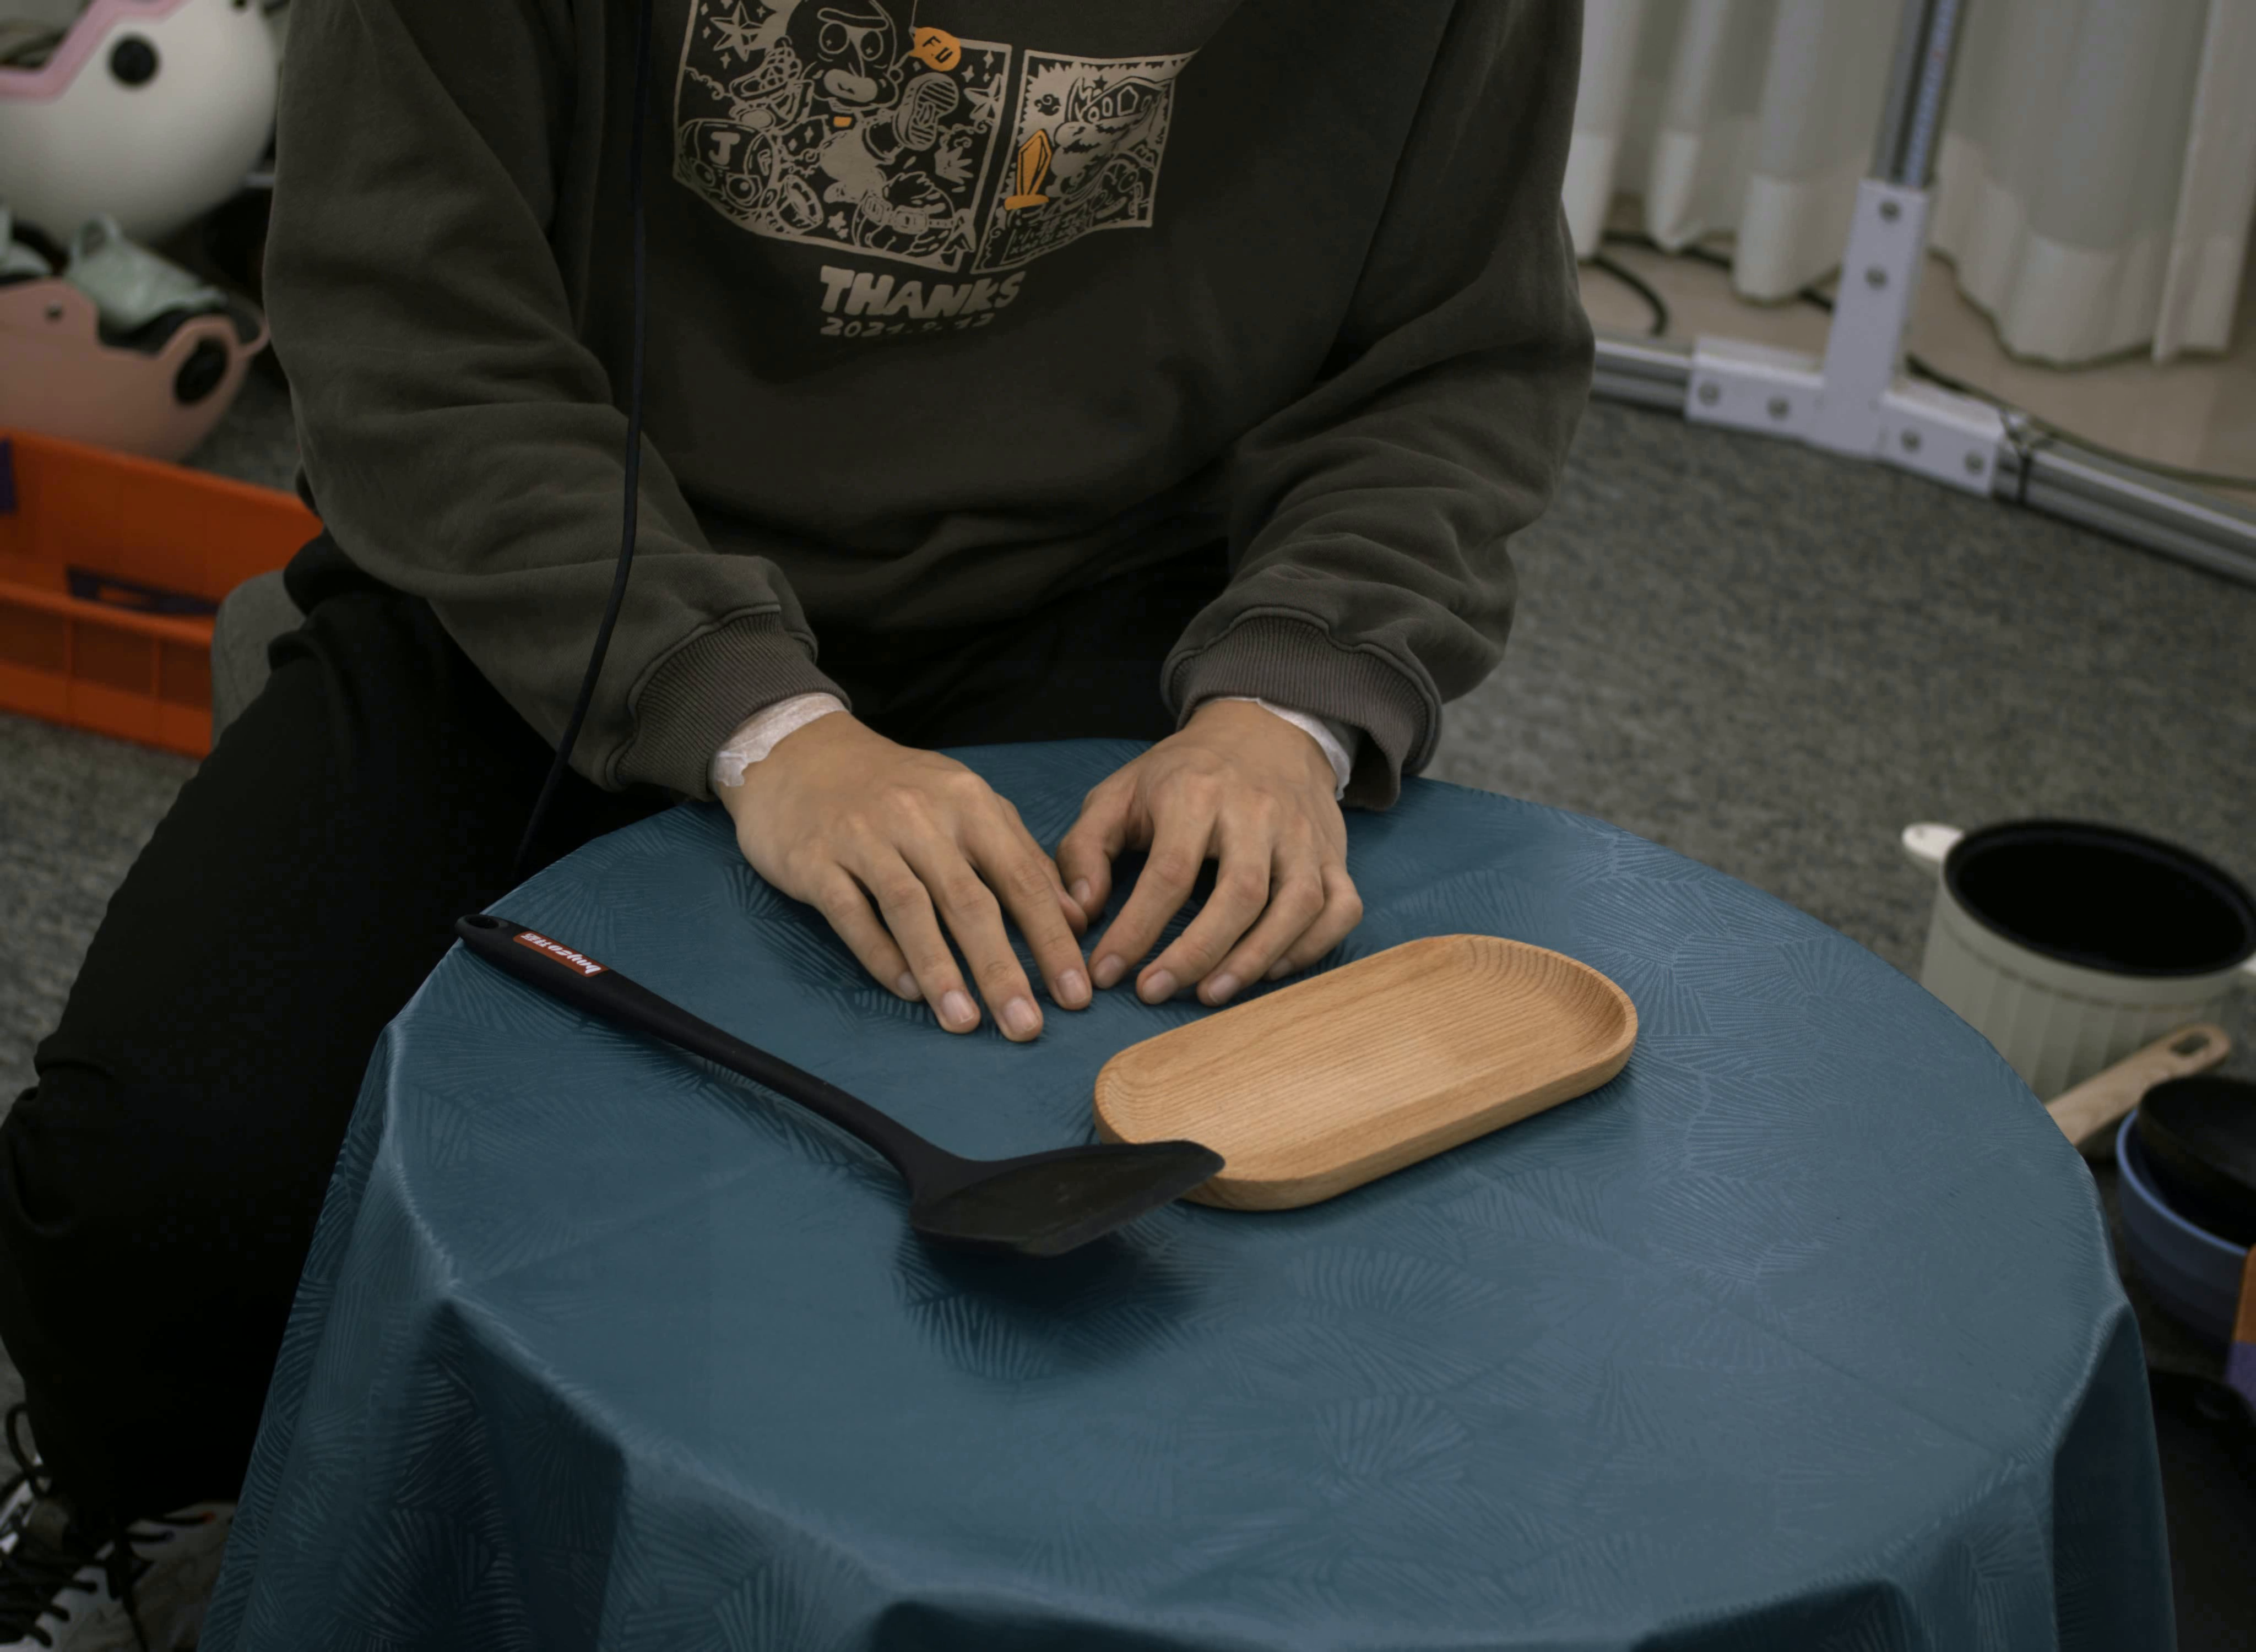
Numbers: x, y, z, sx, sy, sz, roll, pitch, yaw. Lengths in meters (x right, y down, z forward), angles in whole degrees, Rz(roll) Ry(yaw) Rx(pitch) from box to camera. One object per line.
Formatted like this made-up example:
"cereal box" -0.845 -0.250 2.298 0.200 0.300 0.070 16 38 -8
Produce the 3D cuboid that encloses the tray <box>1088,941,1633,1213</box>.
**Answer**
"tray" 0.084 0.088 1.876 0.230 0.020 0.102 -19 36 -39

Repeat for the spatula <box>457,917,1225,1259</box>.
"spatula" -0.116 0.082 1.820 0.328 0.040 0.099 26 31 34
